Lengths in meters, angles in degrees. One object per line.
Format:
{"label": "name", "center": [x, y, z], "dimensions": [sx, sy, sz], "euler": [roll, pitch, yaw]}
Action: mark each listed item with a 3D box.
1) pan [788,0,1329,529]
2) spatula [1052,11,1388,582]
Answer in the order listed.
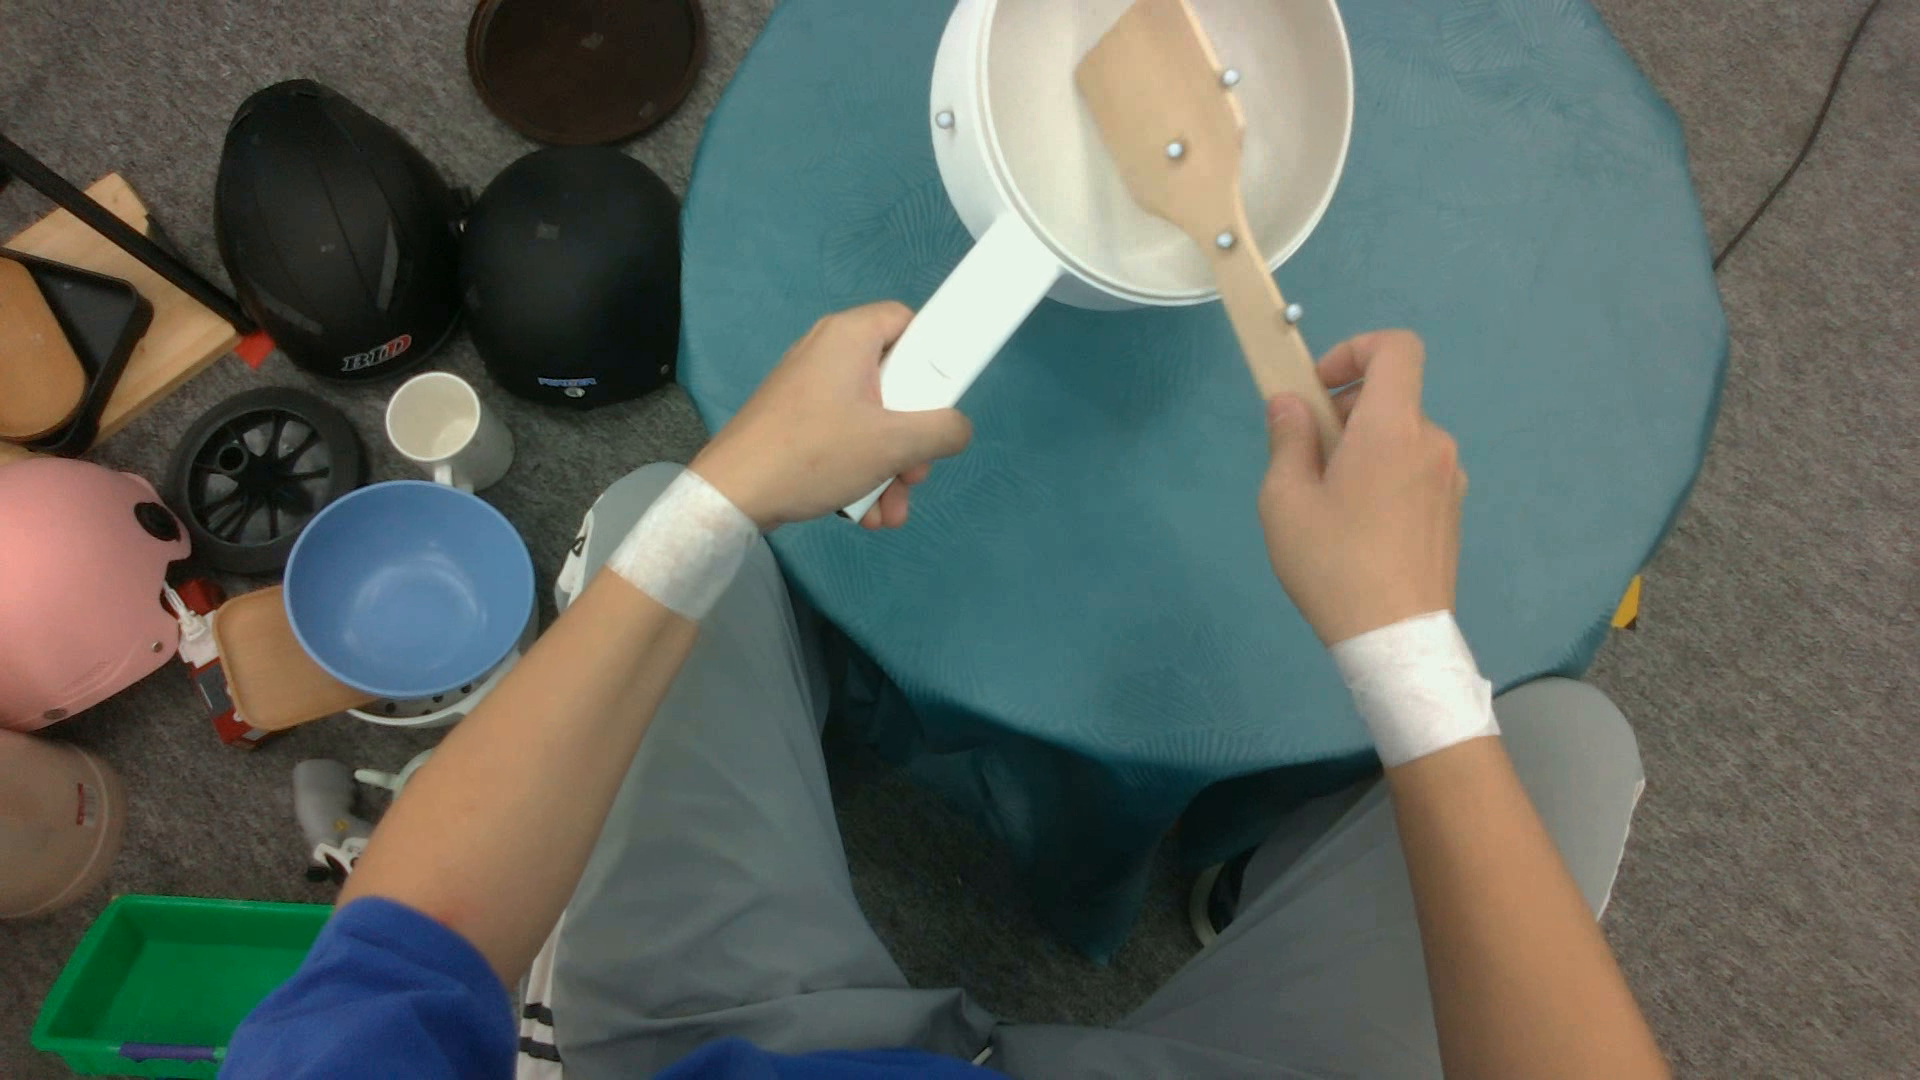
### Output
{"label": "pan", "center": [0.033, -0.155, 0.697], "dimensions": [0.201, 0.102, 0.355], "euler": [40, 80, -18]}
{"label": "spatula", "center": [0.127, -0.114, 0.651], "dimensions": [0.072, 0.011, 0.293], "euler": [-35, 73, 38]}
